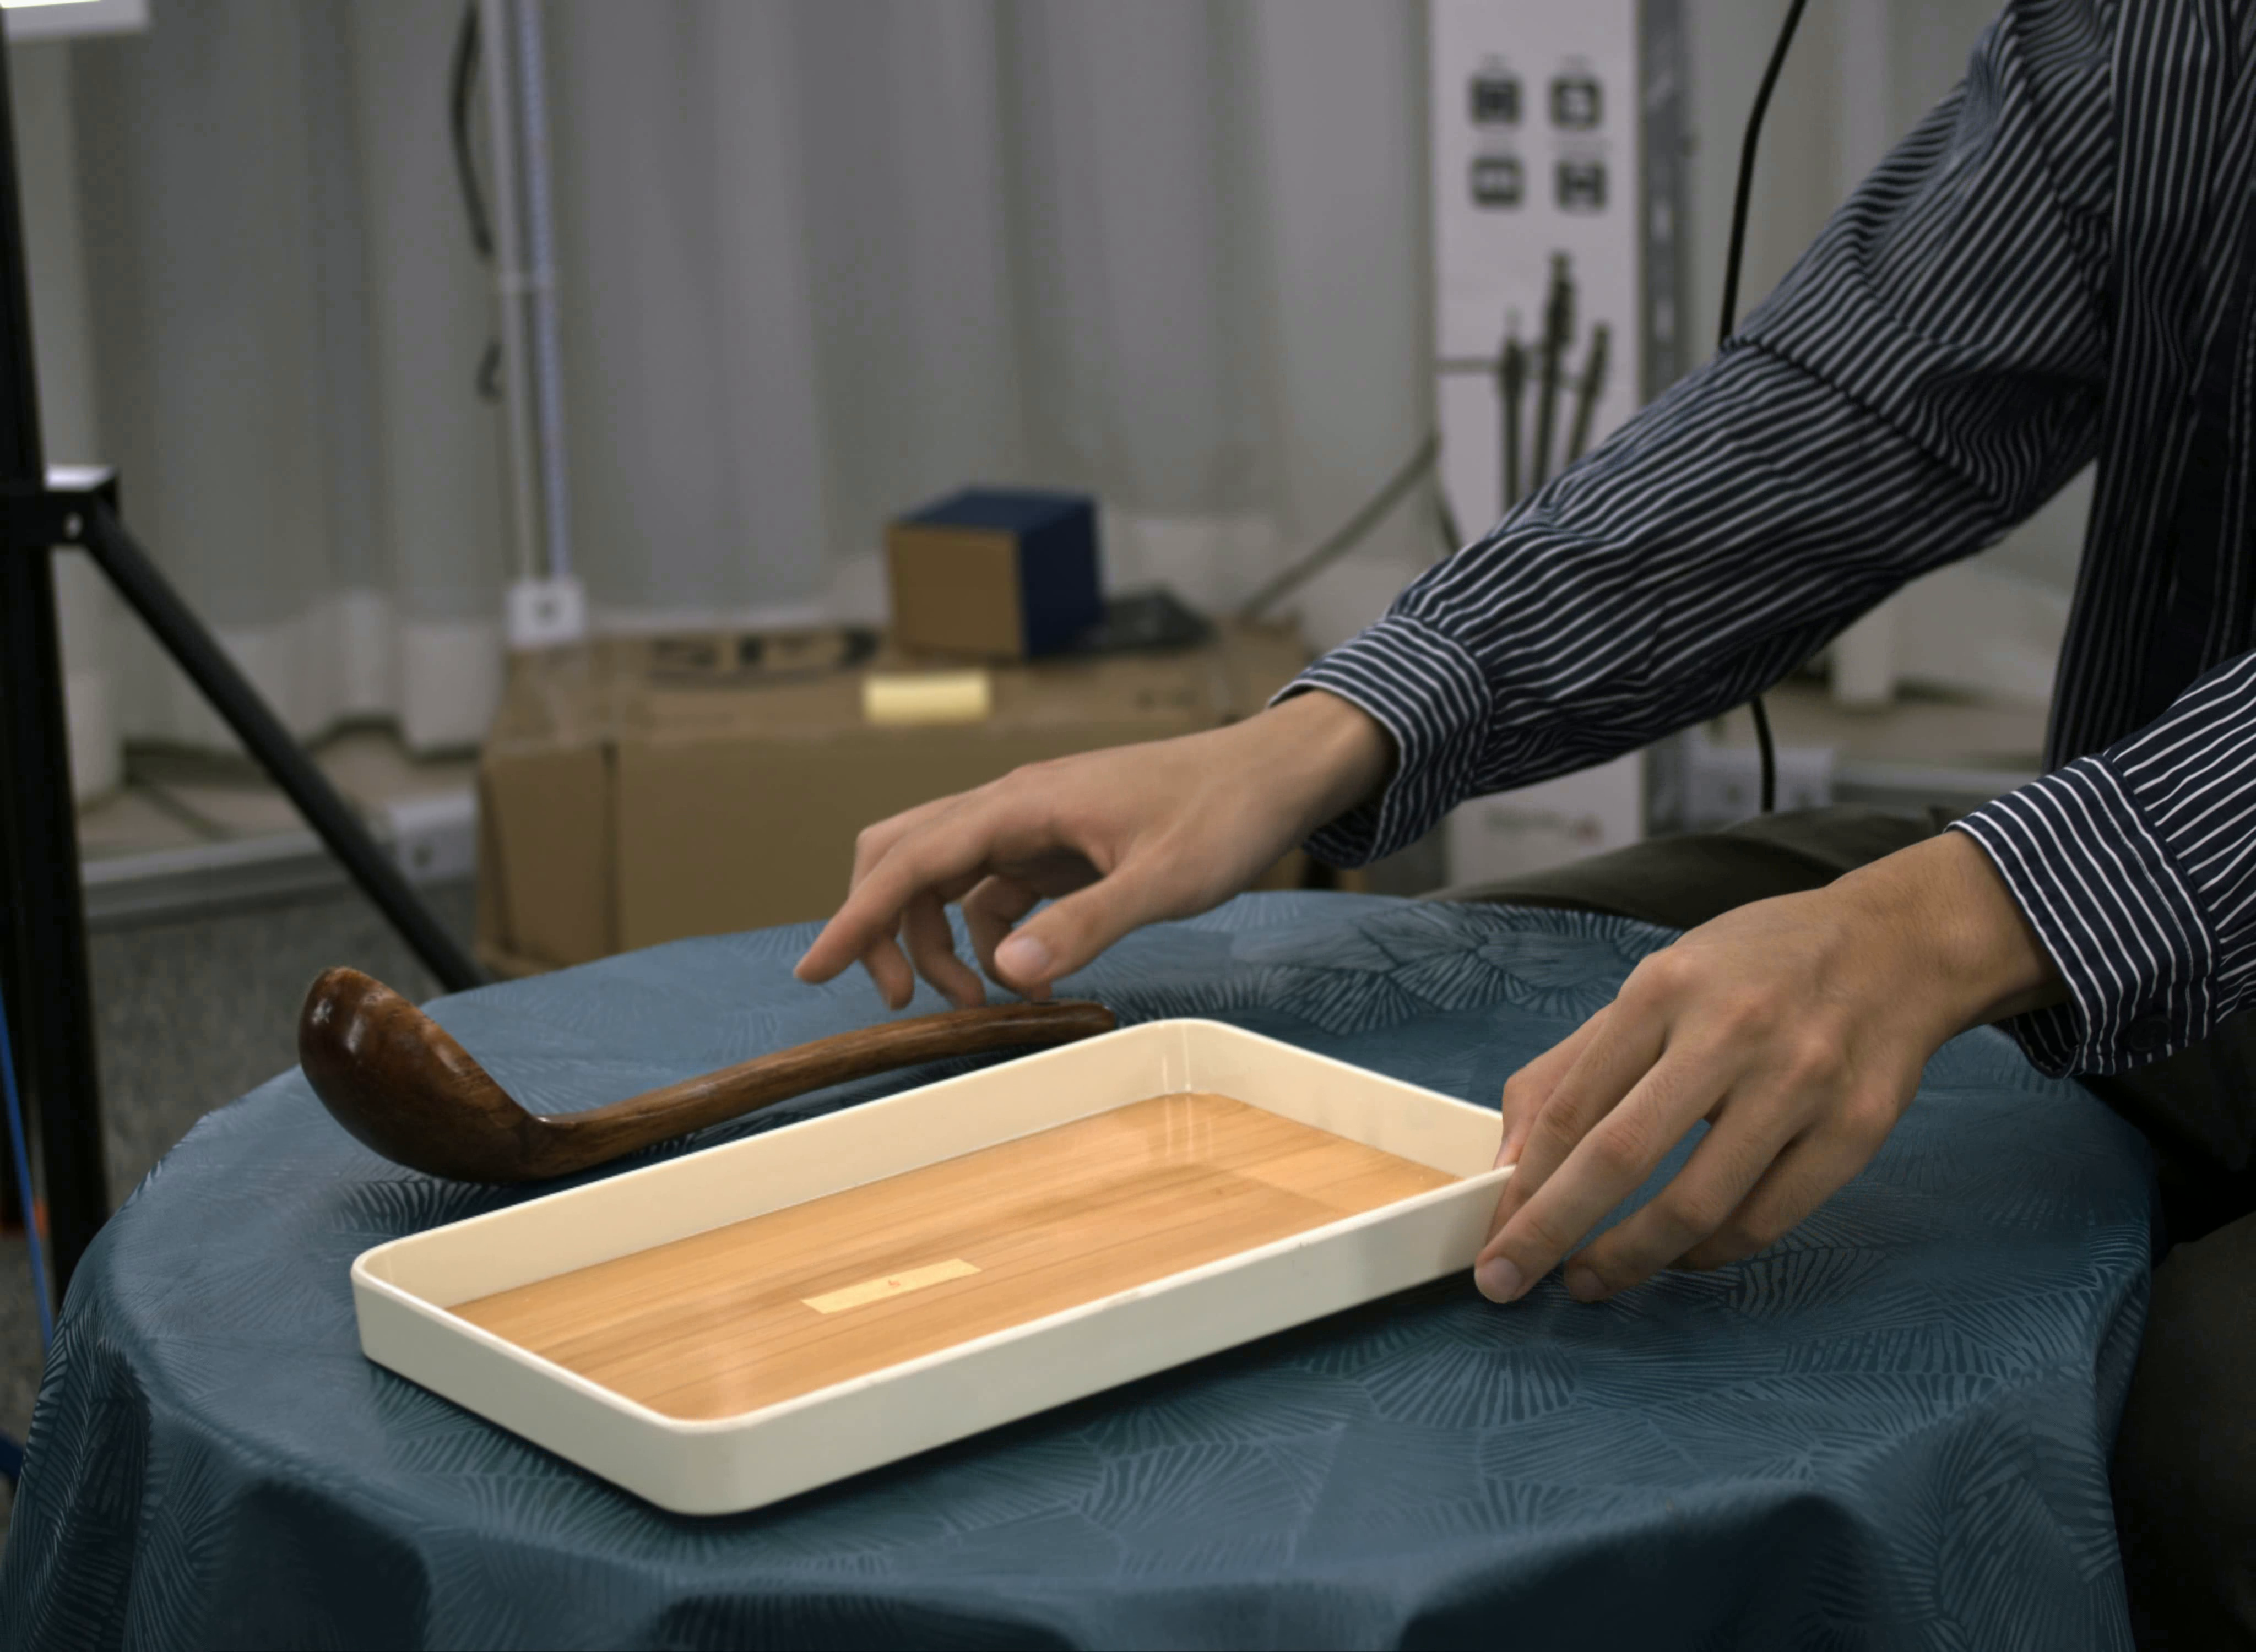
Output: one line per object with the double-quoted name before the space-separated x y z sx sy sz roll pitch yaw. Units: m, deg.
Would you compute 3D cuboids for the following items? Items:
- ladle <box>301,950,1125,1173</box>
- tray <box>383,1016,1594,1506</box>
"ladle" -0.123 0.053 1.633 0.268 0.076 0.083 -12 15 -29
"tray" -0.037 0.116 1.479 0.293 0.027 0.196 -14 18 -32
